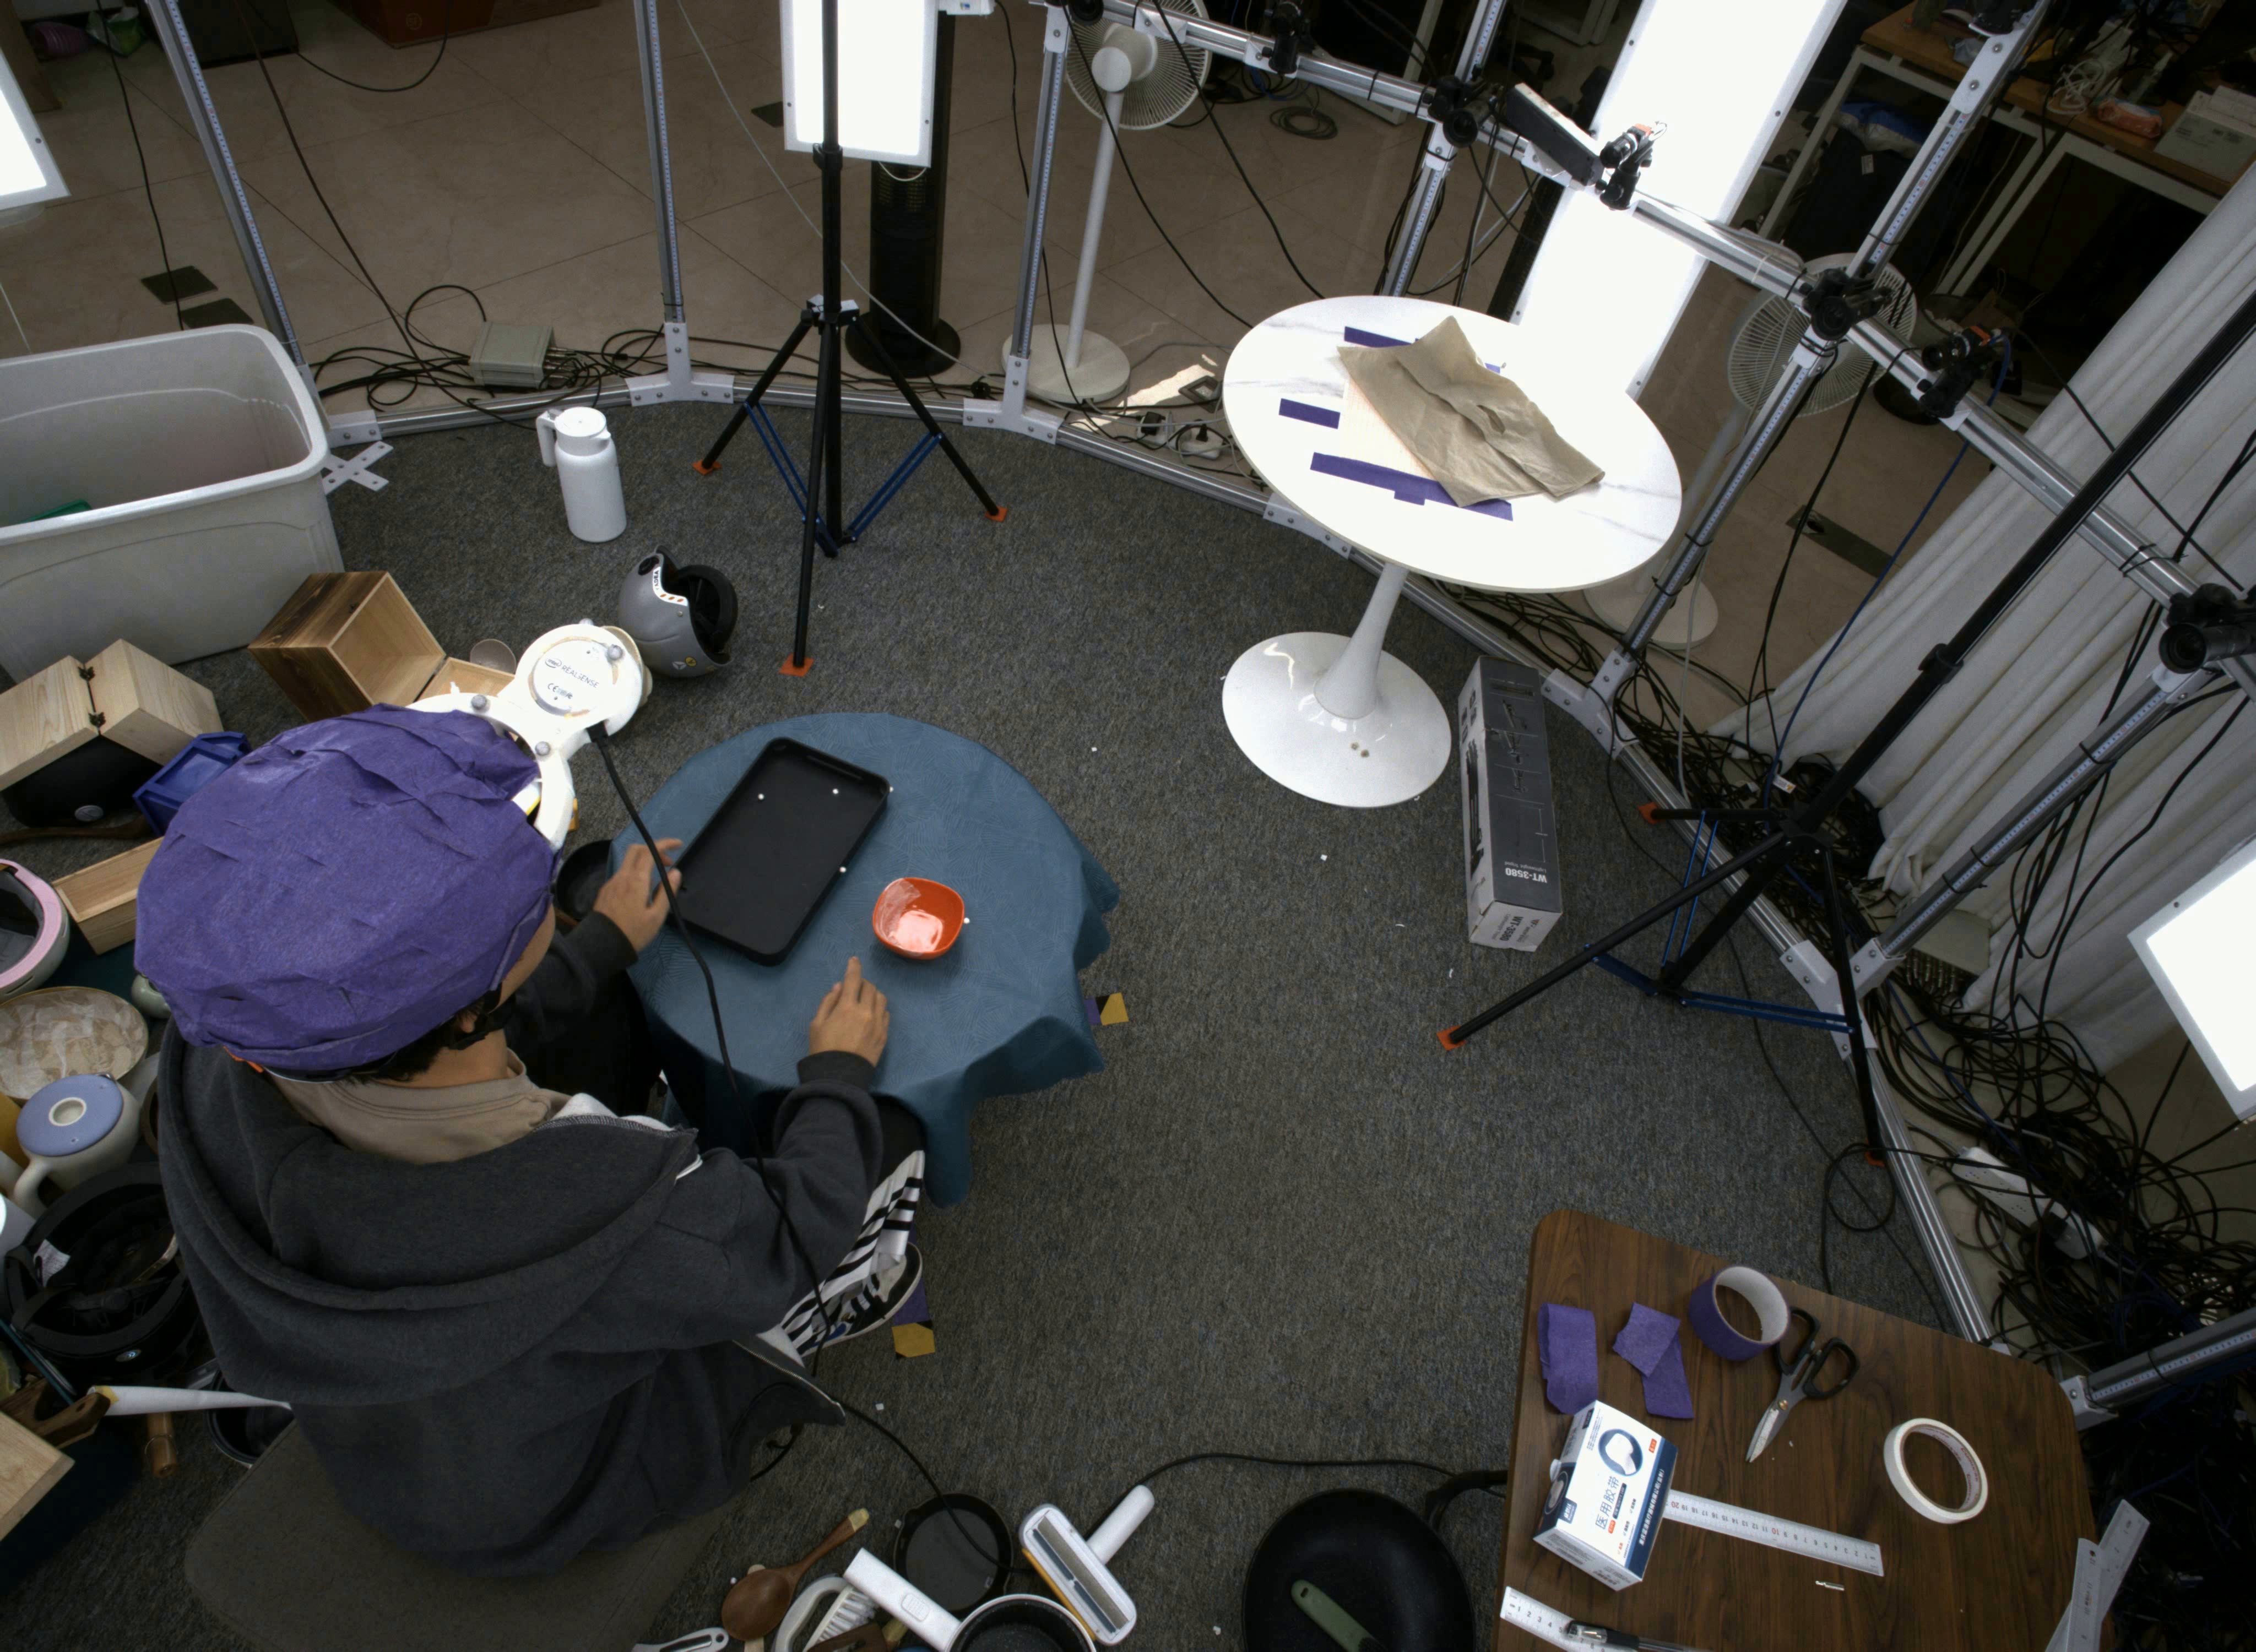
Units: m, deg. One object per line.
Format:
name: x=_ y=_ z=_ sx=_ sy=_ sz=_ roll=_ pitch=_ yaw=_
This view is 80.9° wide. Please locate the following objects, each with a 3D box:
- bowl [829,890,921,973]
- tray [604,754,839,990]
bowl: x=-0.314 y=0.138 z=1.619 sx=0.118 sy=0.052 sz=0.117 roll=7 pitch=52 yaw=-8
tray: x=-0.512 y=0.049 z=1.644 sx=0.182 sy=0.038 sz=0.315 roll=20 pitch=51 yaw=1
